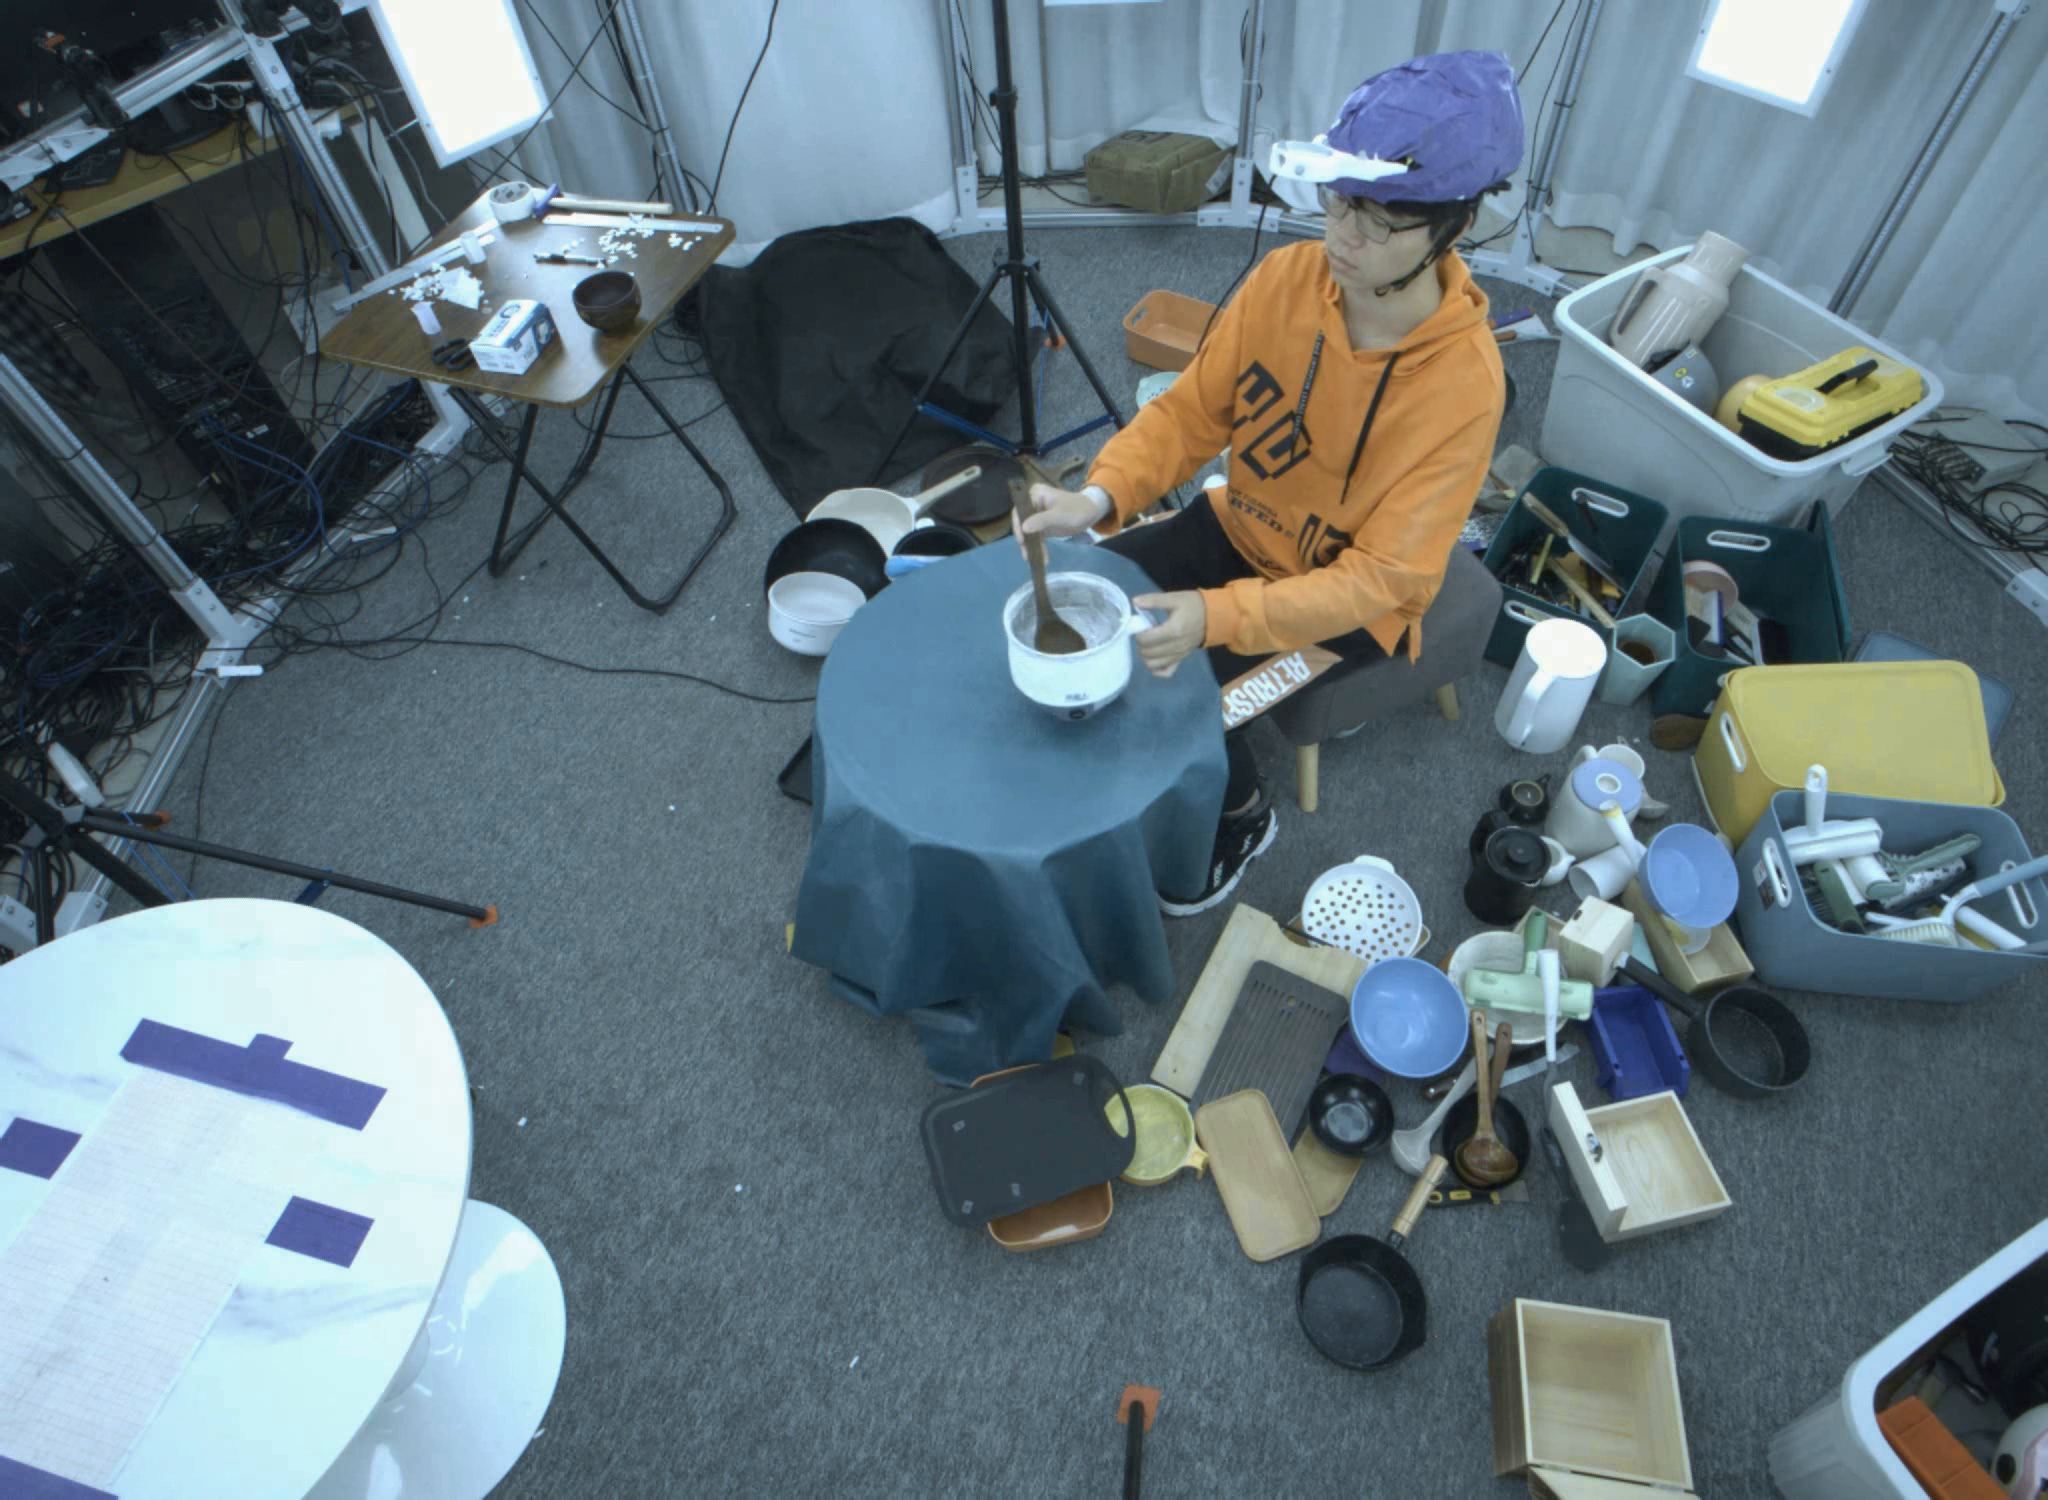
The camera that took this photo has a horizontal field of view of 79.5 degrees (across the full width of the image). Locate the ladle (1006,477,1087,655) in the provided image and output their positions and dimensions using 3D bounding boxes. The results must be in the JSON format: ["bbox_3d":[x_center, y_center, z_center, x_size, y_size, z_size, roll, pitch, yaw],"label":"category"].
[{"bbox_3d":[0.027,-0.249,1.712,0.077,0.276,0.070,-20,15,-29],"label":"ladle"}]

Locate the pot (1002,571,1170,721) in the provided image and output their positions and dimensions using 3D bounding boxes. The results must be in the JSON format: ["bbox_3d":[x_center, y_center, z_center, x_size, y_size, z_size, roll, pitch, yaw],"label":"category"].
[{"bbox_3d":[0.091,-0.152,1.749,0.234,0.138,0.176,-8,50,-1],"label":"pot"}]
